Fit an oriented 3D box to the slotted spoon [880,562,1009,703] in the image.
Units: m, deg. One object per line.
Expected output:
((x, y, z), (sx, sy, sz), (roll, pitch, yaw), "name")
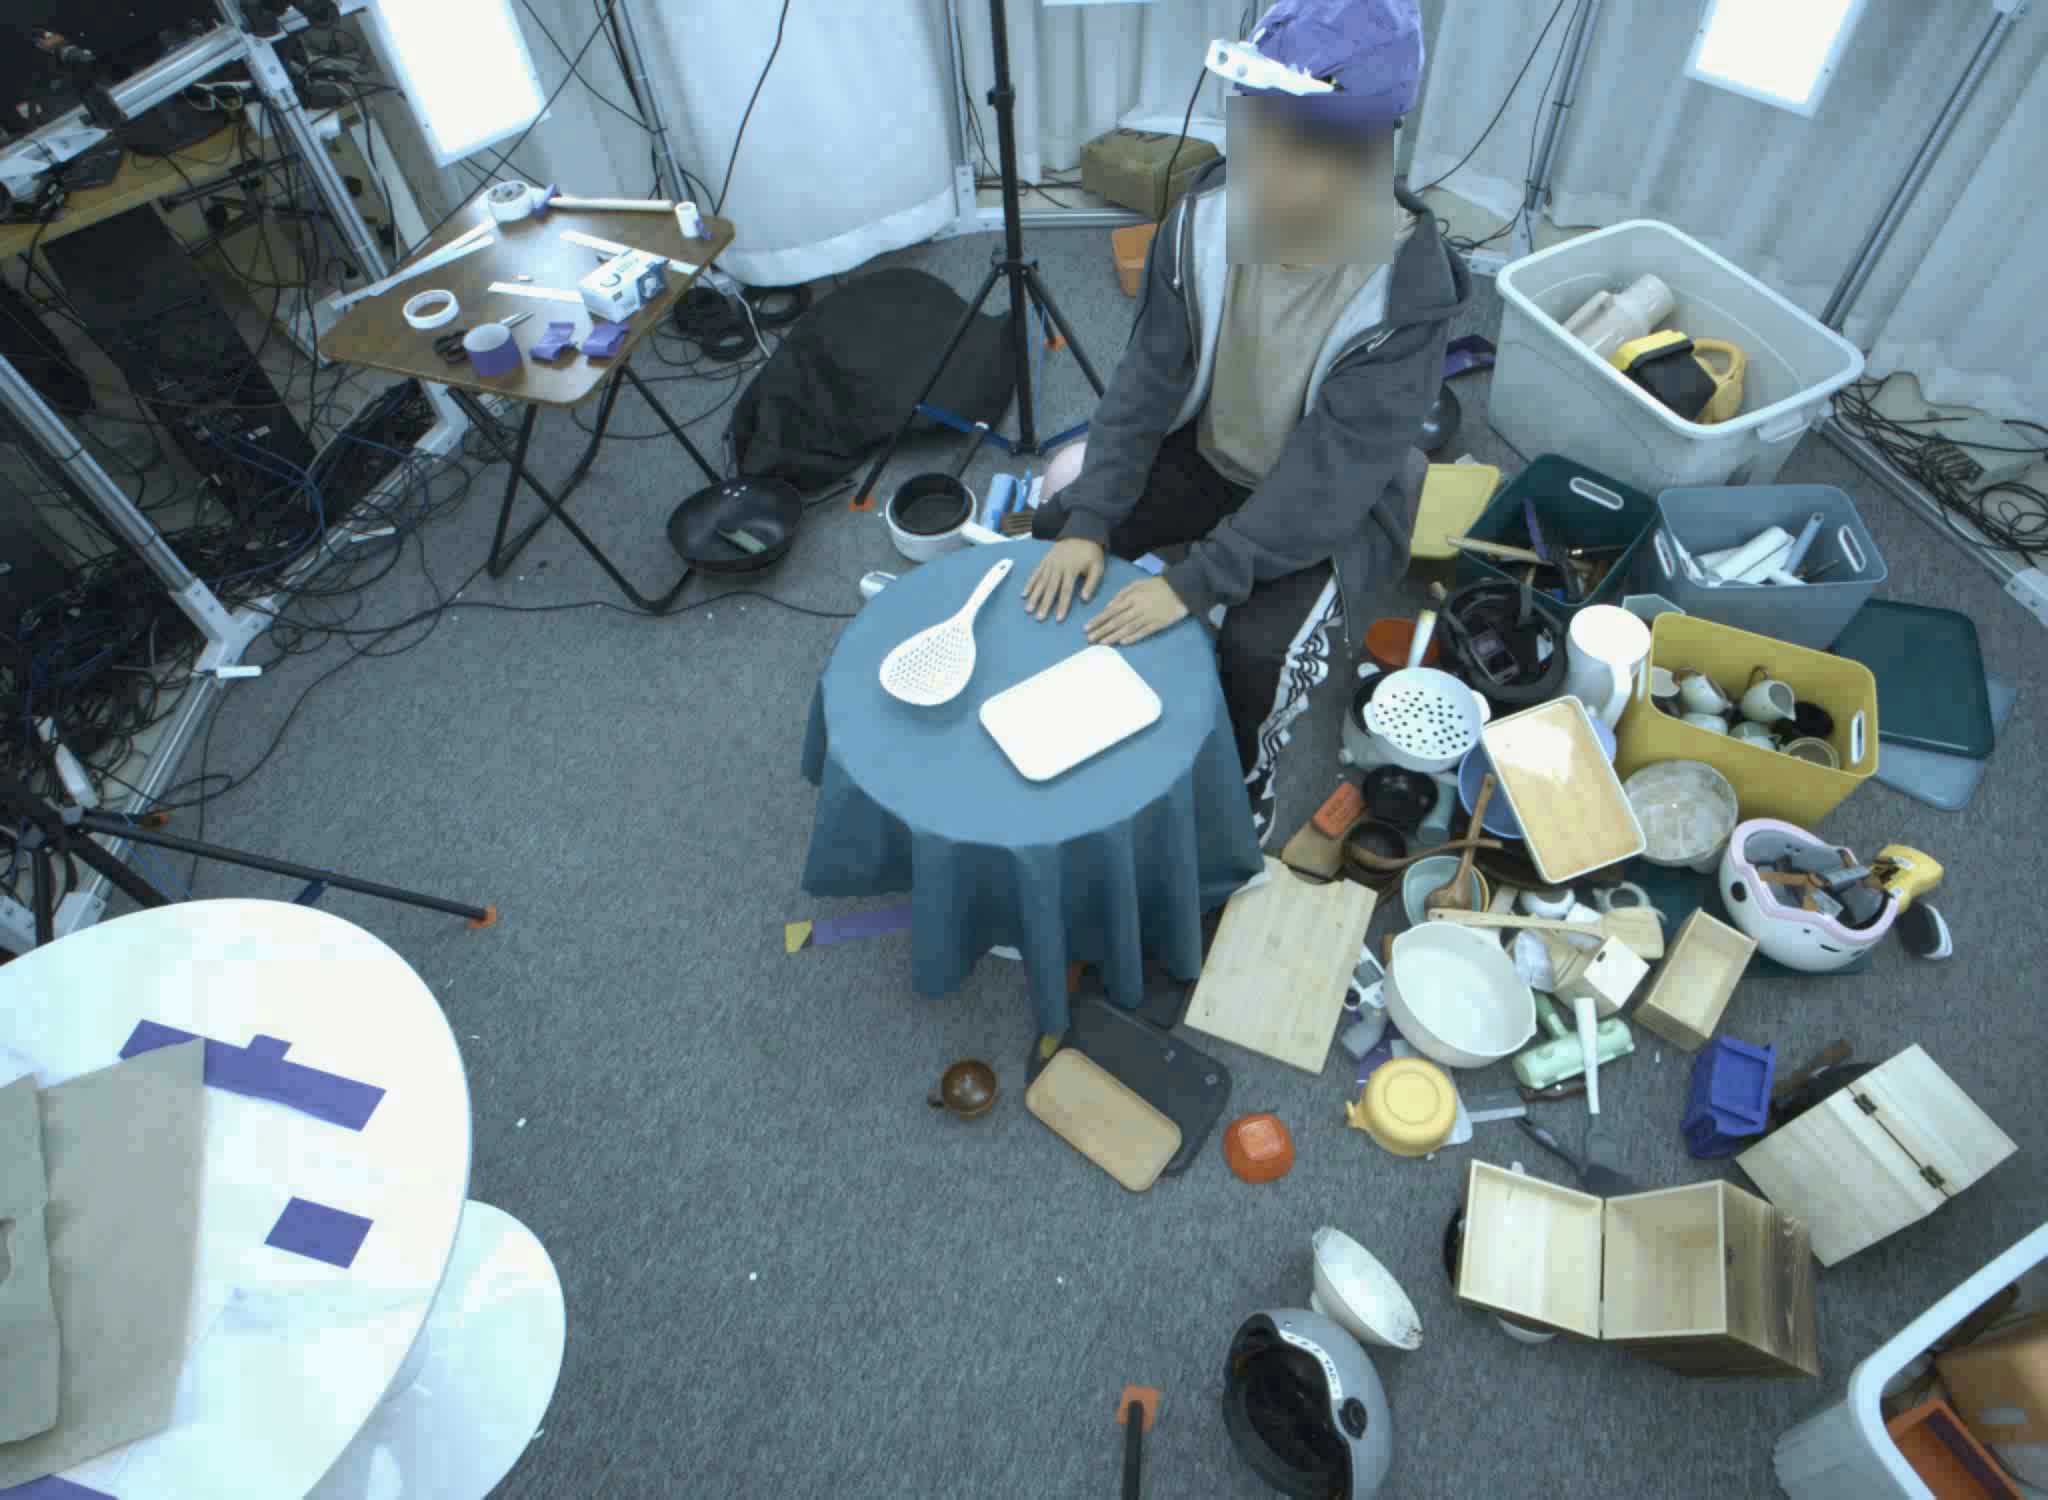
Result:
((-0.098, -0.191, 1.904), (0.135, 0.051, 0.348), (17, 56, 18), "slotted spoon")

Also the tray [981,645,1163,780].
((0.071, -0.056, 1.816), (0.241, 0.017, 0.168), (-28, 58, -17), "tray")
